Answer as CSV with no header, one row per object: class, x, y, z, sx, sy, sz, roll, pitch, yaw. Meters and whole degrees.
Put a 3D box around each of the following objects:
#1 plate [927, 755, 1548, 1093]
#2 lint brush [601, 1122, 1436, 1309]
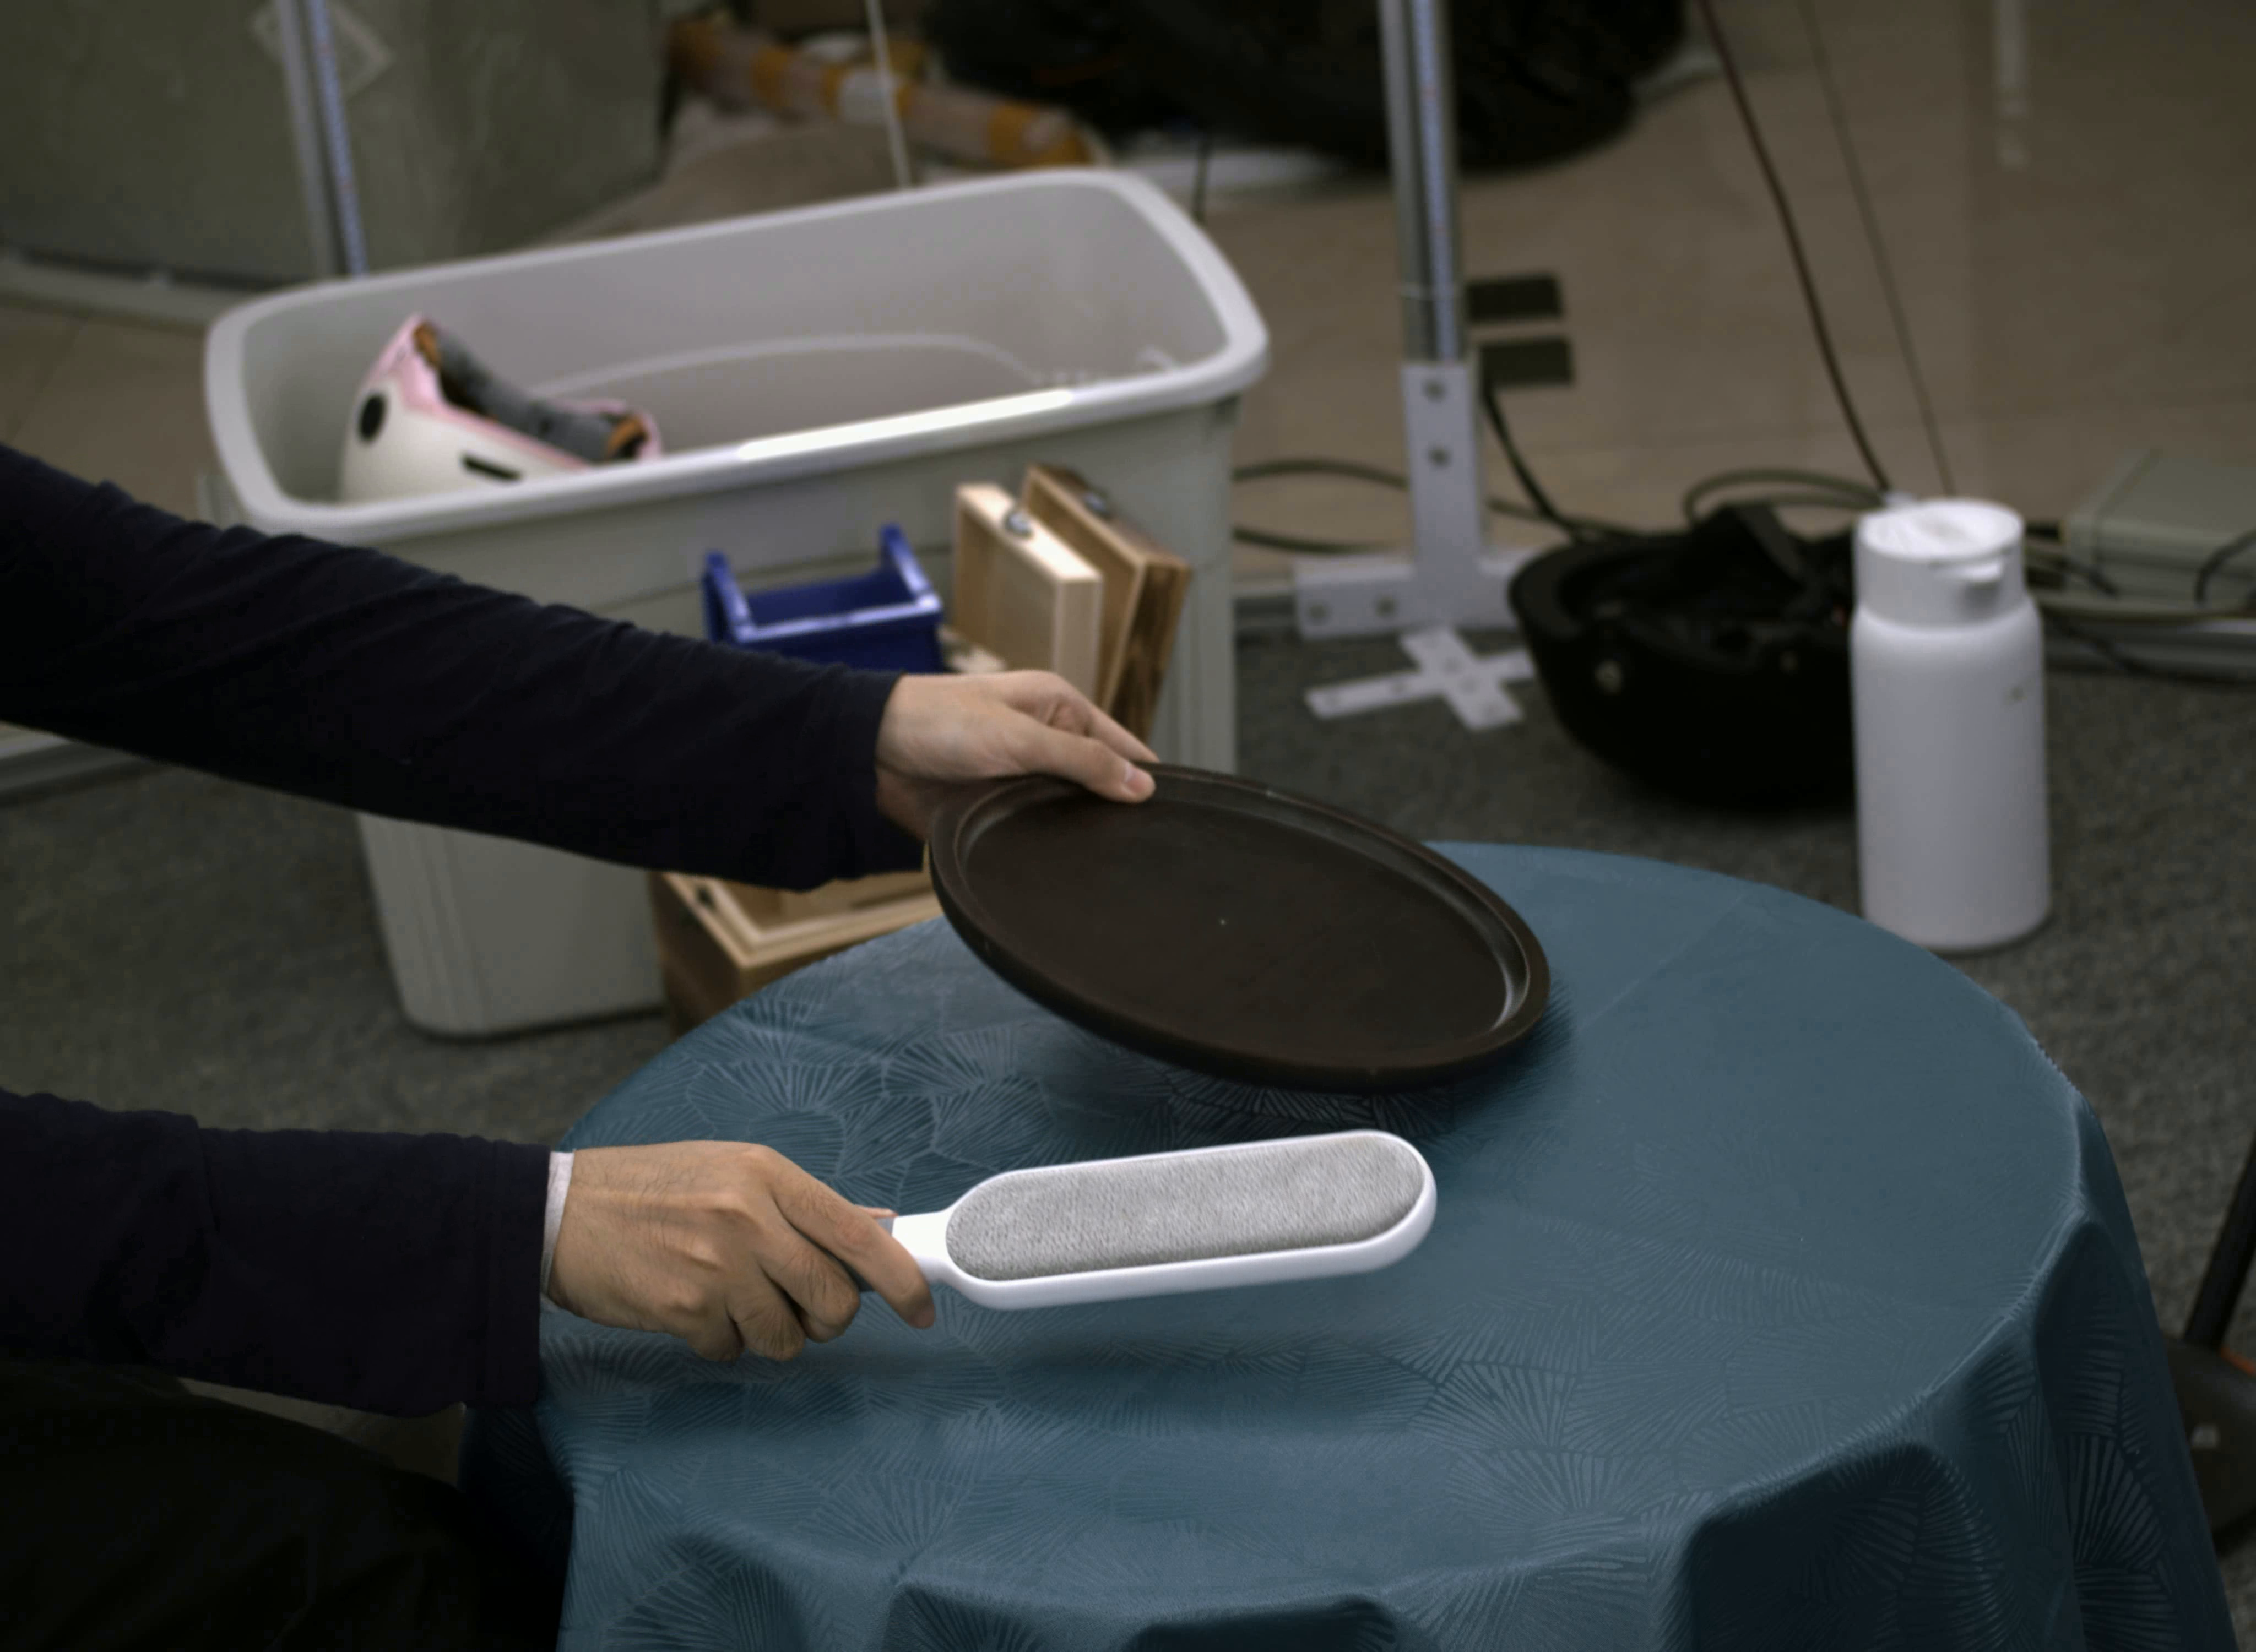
plate,0.042,0.038,2.238,0.255,0.029,0.251,14,22,-6
lint brush,-0.042,0.144,2.028,0.308,0.021,0.059,-7,50,13
